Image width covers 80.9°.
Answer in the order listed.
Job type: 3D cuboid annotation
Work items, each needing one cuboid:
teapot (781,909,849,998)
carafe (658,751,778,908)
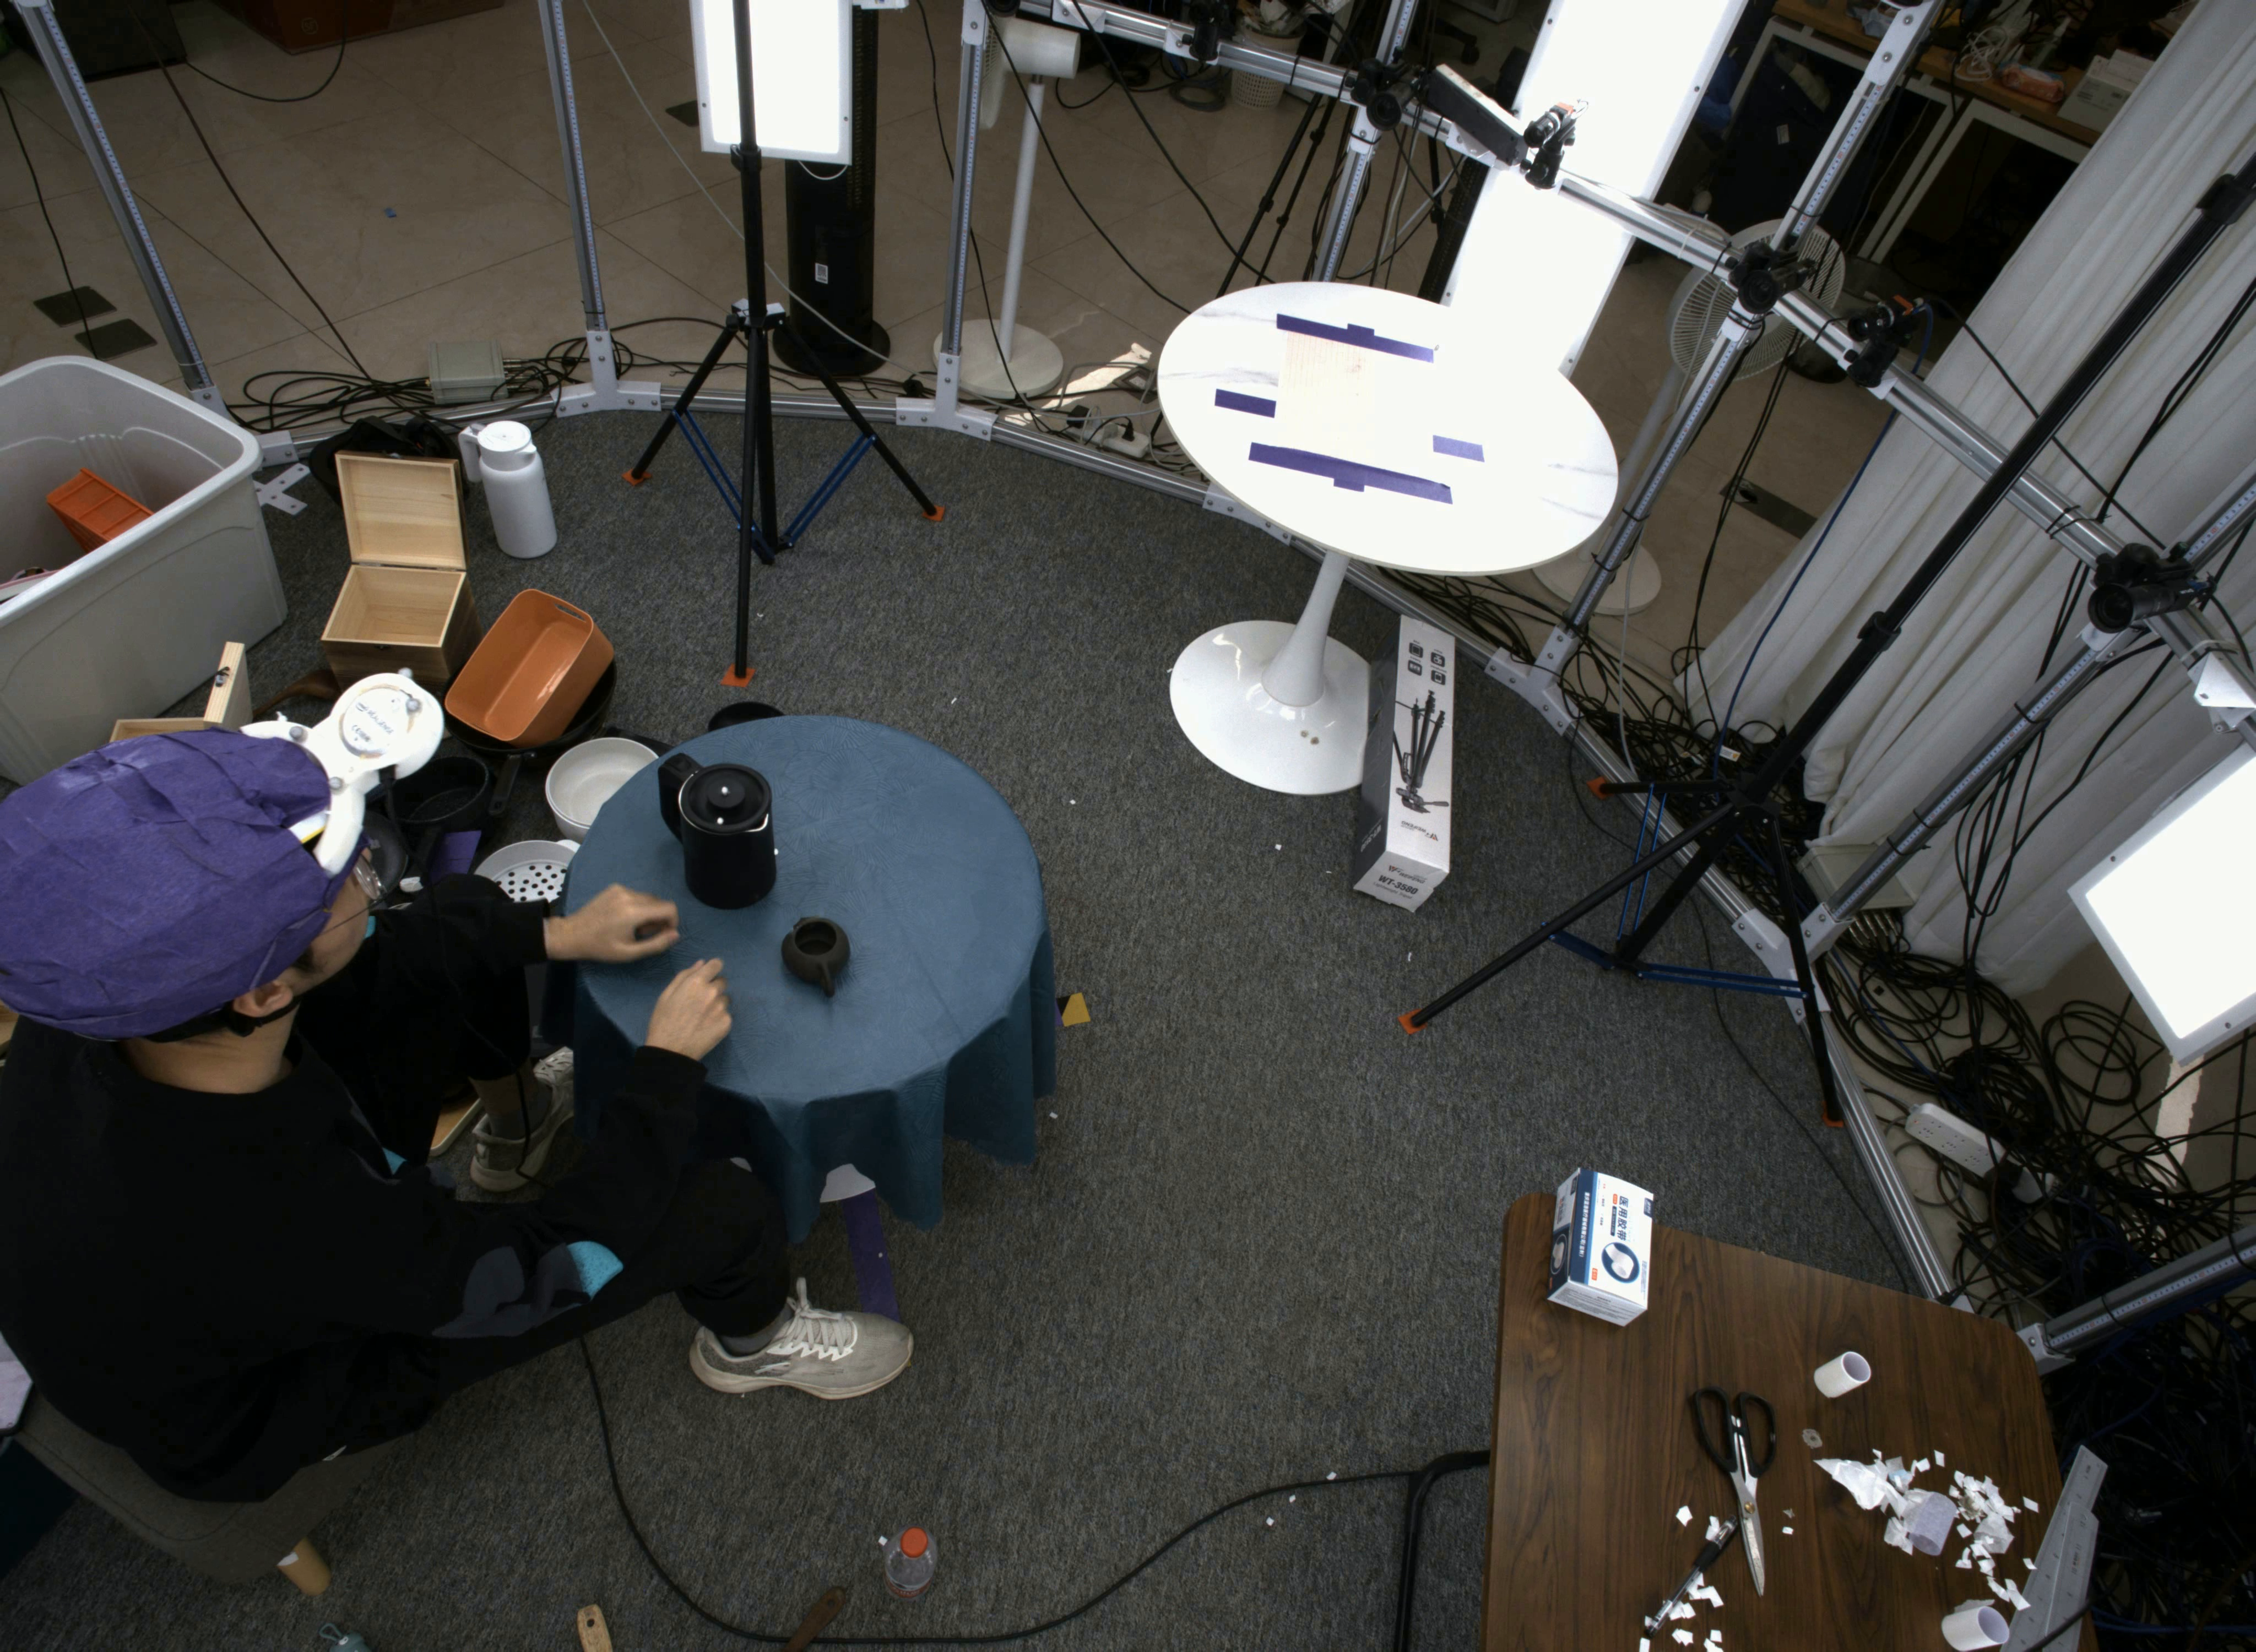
[{"bbox_3d":[-0.382,0.157,1.593,0.083,0.054,0.111,-10,54,-20],"label":"teapot"},{"bbox_3d":[-0.513,-0.005,1.599,0.169,0.176,0.114,35,55,11],"label":"carafe"}]
